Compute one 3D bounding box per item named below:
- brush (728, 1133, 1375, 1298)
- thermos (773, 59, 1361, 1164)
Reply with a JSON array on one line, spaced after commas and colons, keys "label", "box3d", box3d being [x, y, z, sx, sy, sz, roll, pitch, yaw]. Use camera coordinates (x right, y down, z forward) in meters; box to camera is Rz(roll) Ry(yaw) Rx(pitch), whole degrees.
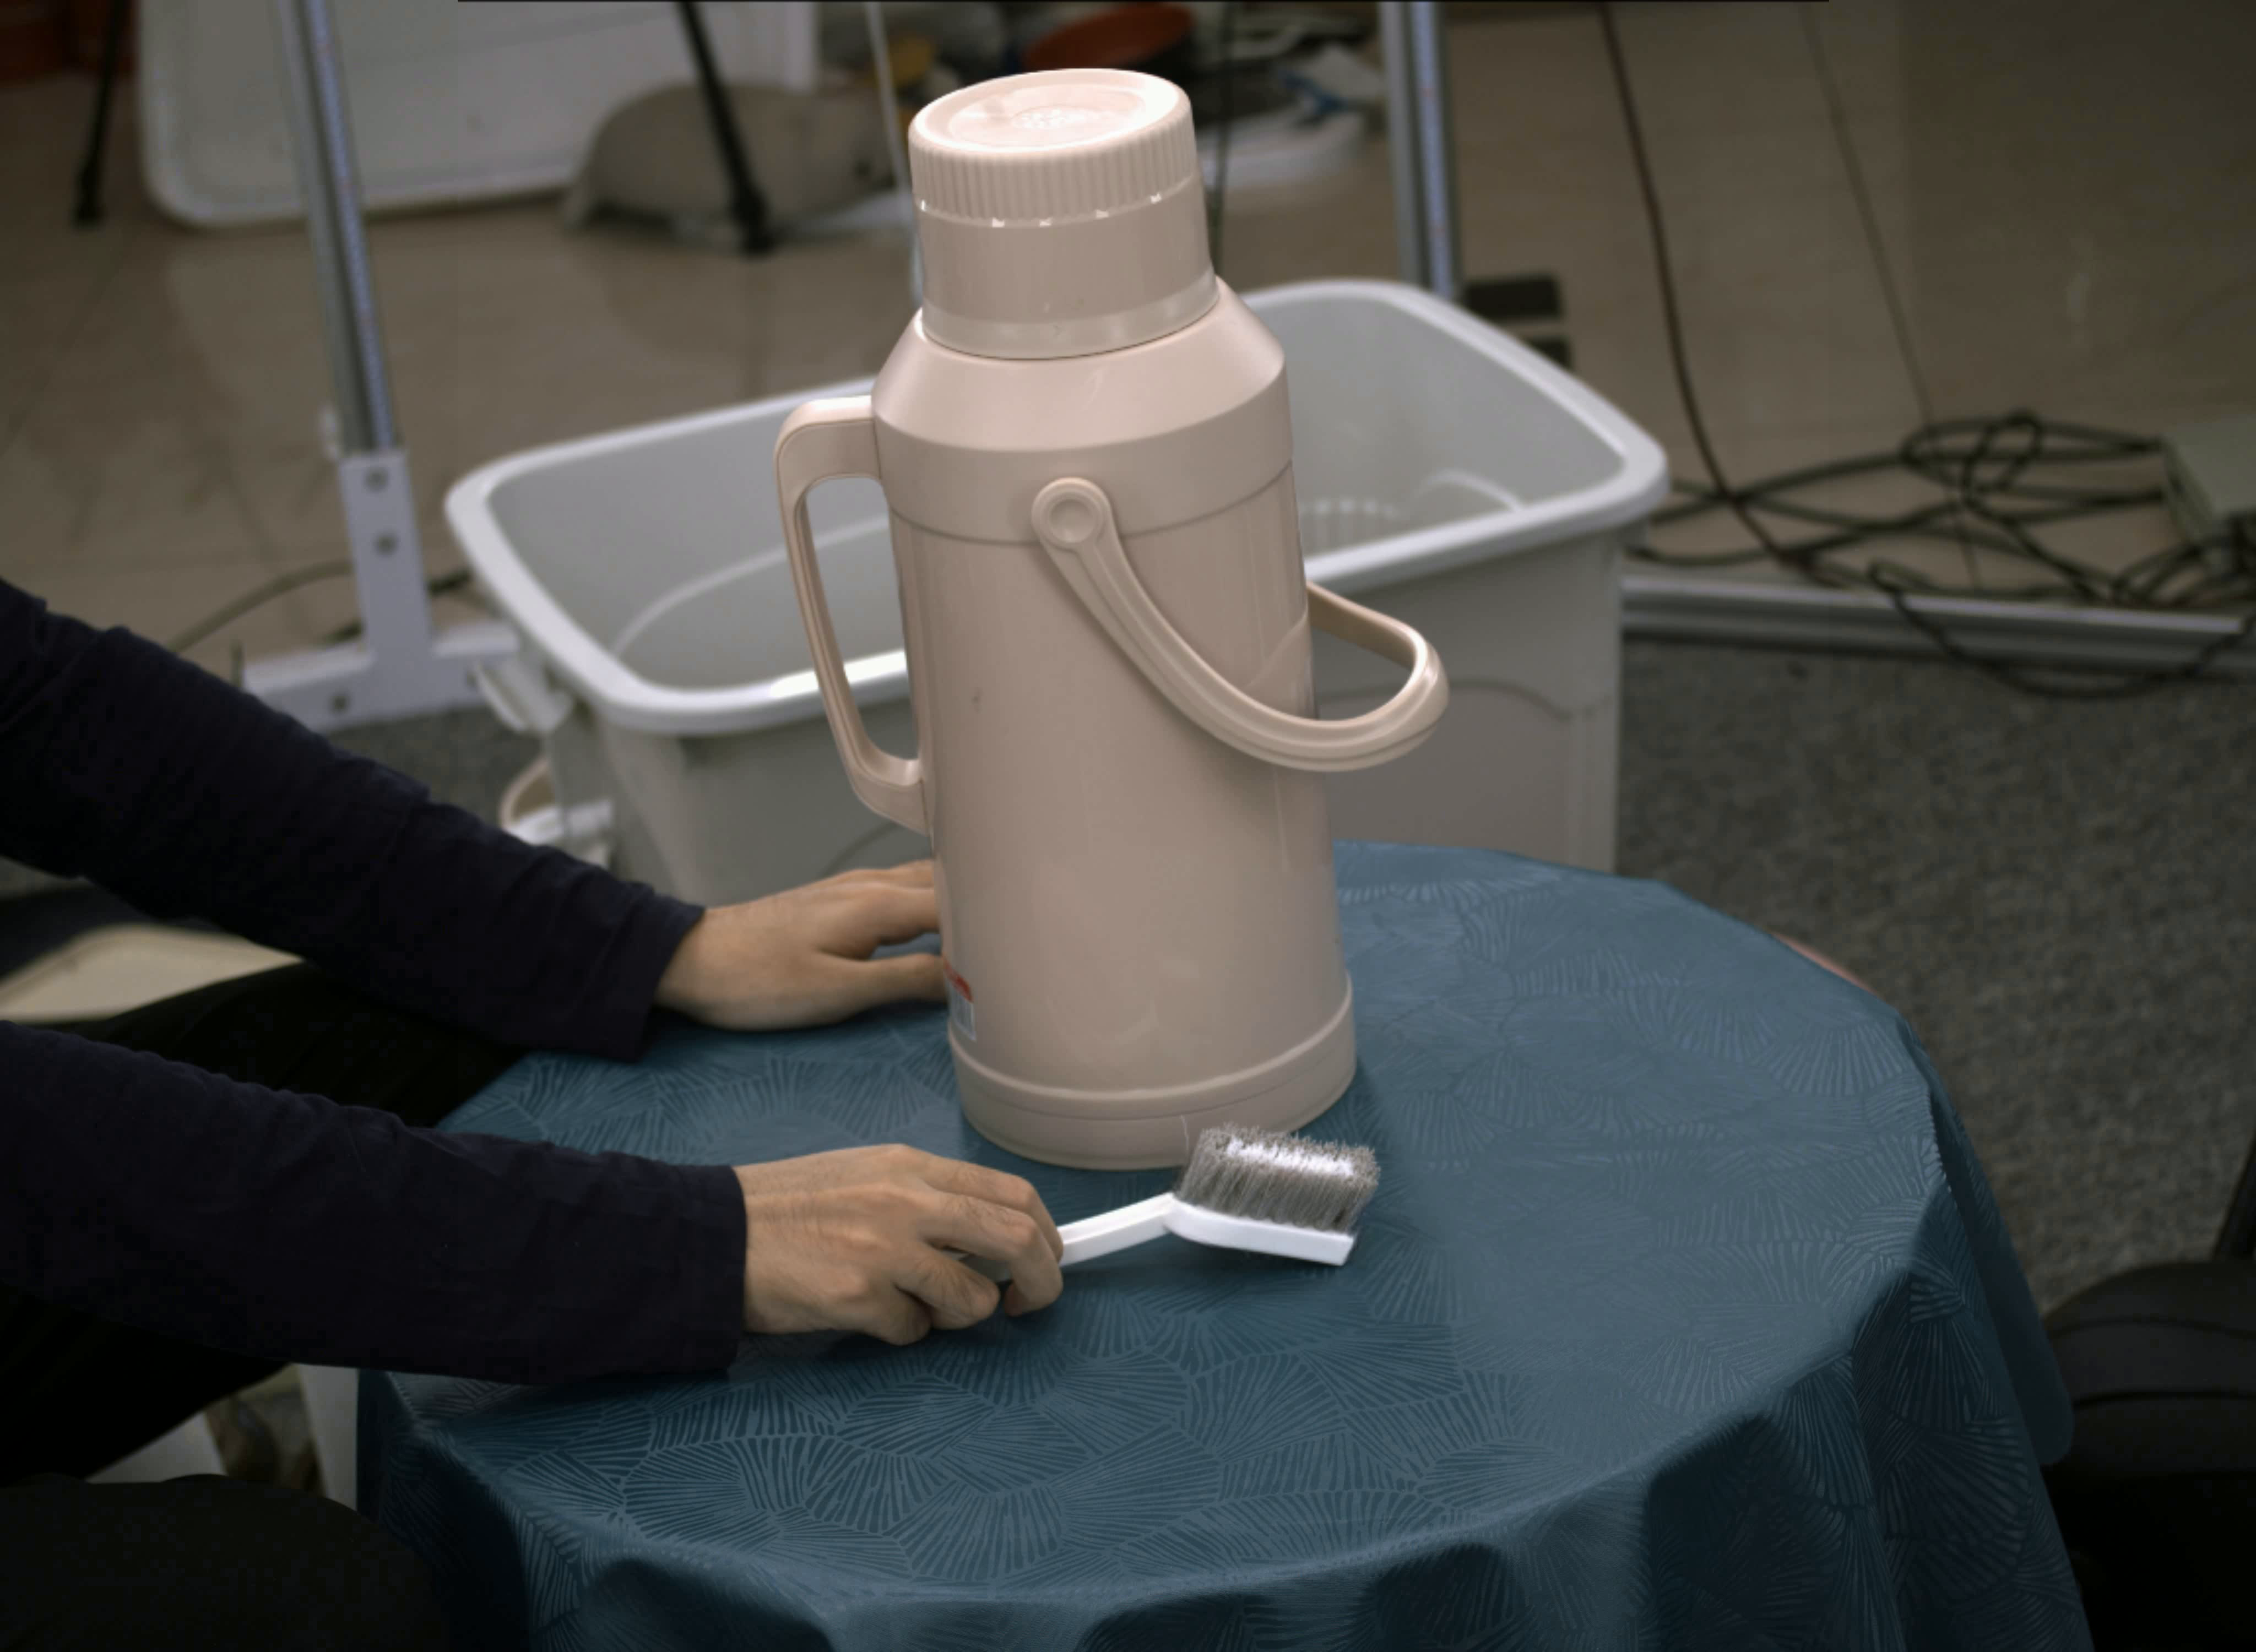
[{"label": "brush", "box3d": [-0.030, 0.144, 2.087, 0.243, 0.051, 0.034, -4, 33, 5]}, {"label": "thermos", "box3d": [-0.022, -0.081, 2.148, 0.207, 0.413, 0.172, -5, 28, 4]}]
